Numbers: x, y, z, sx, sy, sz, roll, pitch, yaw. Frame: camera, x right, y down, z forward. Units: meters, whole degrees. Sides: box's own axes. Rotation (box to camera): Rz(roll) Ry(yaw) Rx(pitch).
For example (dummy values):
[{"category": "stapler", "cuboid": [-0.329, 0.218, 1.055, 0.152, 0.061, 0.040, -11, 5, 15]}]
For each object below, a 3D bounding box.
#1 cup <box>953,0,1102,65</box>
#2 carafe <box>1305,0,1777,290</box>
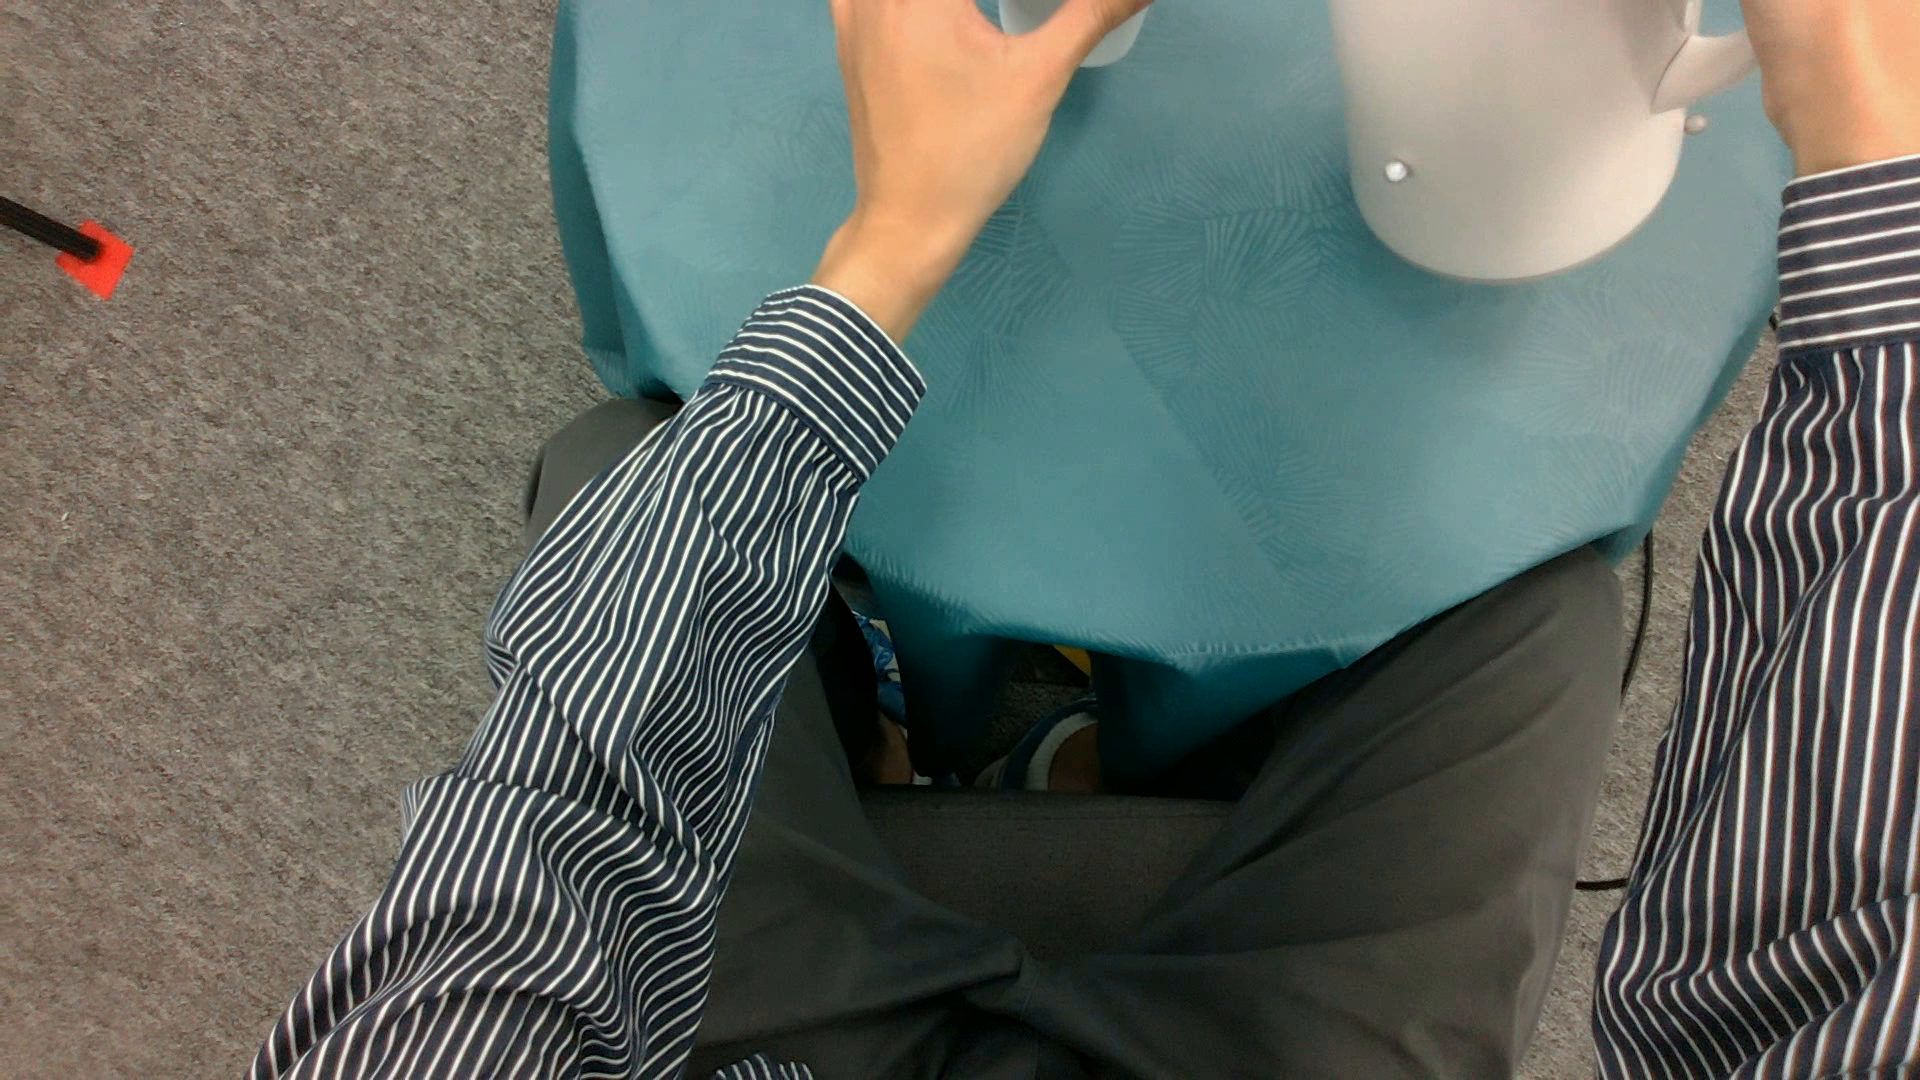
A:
[{"category": "cup", "cuboid": [0.032, -0.260, 0.580, 0.082, 0.125, 0.082, 0, 85, -1]}, {"category": "carafe", "cuboid": [0.203, -0.207, 0.489, 0.167, 0.248, 0.133, 27, 79, 30]}]
